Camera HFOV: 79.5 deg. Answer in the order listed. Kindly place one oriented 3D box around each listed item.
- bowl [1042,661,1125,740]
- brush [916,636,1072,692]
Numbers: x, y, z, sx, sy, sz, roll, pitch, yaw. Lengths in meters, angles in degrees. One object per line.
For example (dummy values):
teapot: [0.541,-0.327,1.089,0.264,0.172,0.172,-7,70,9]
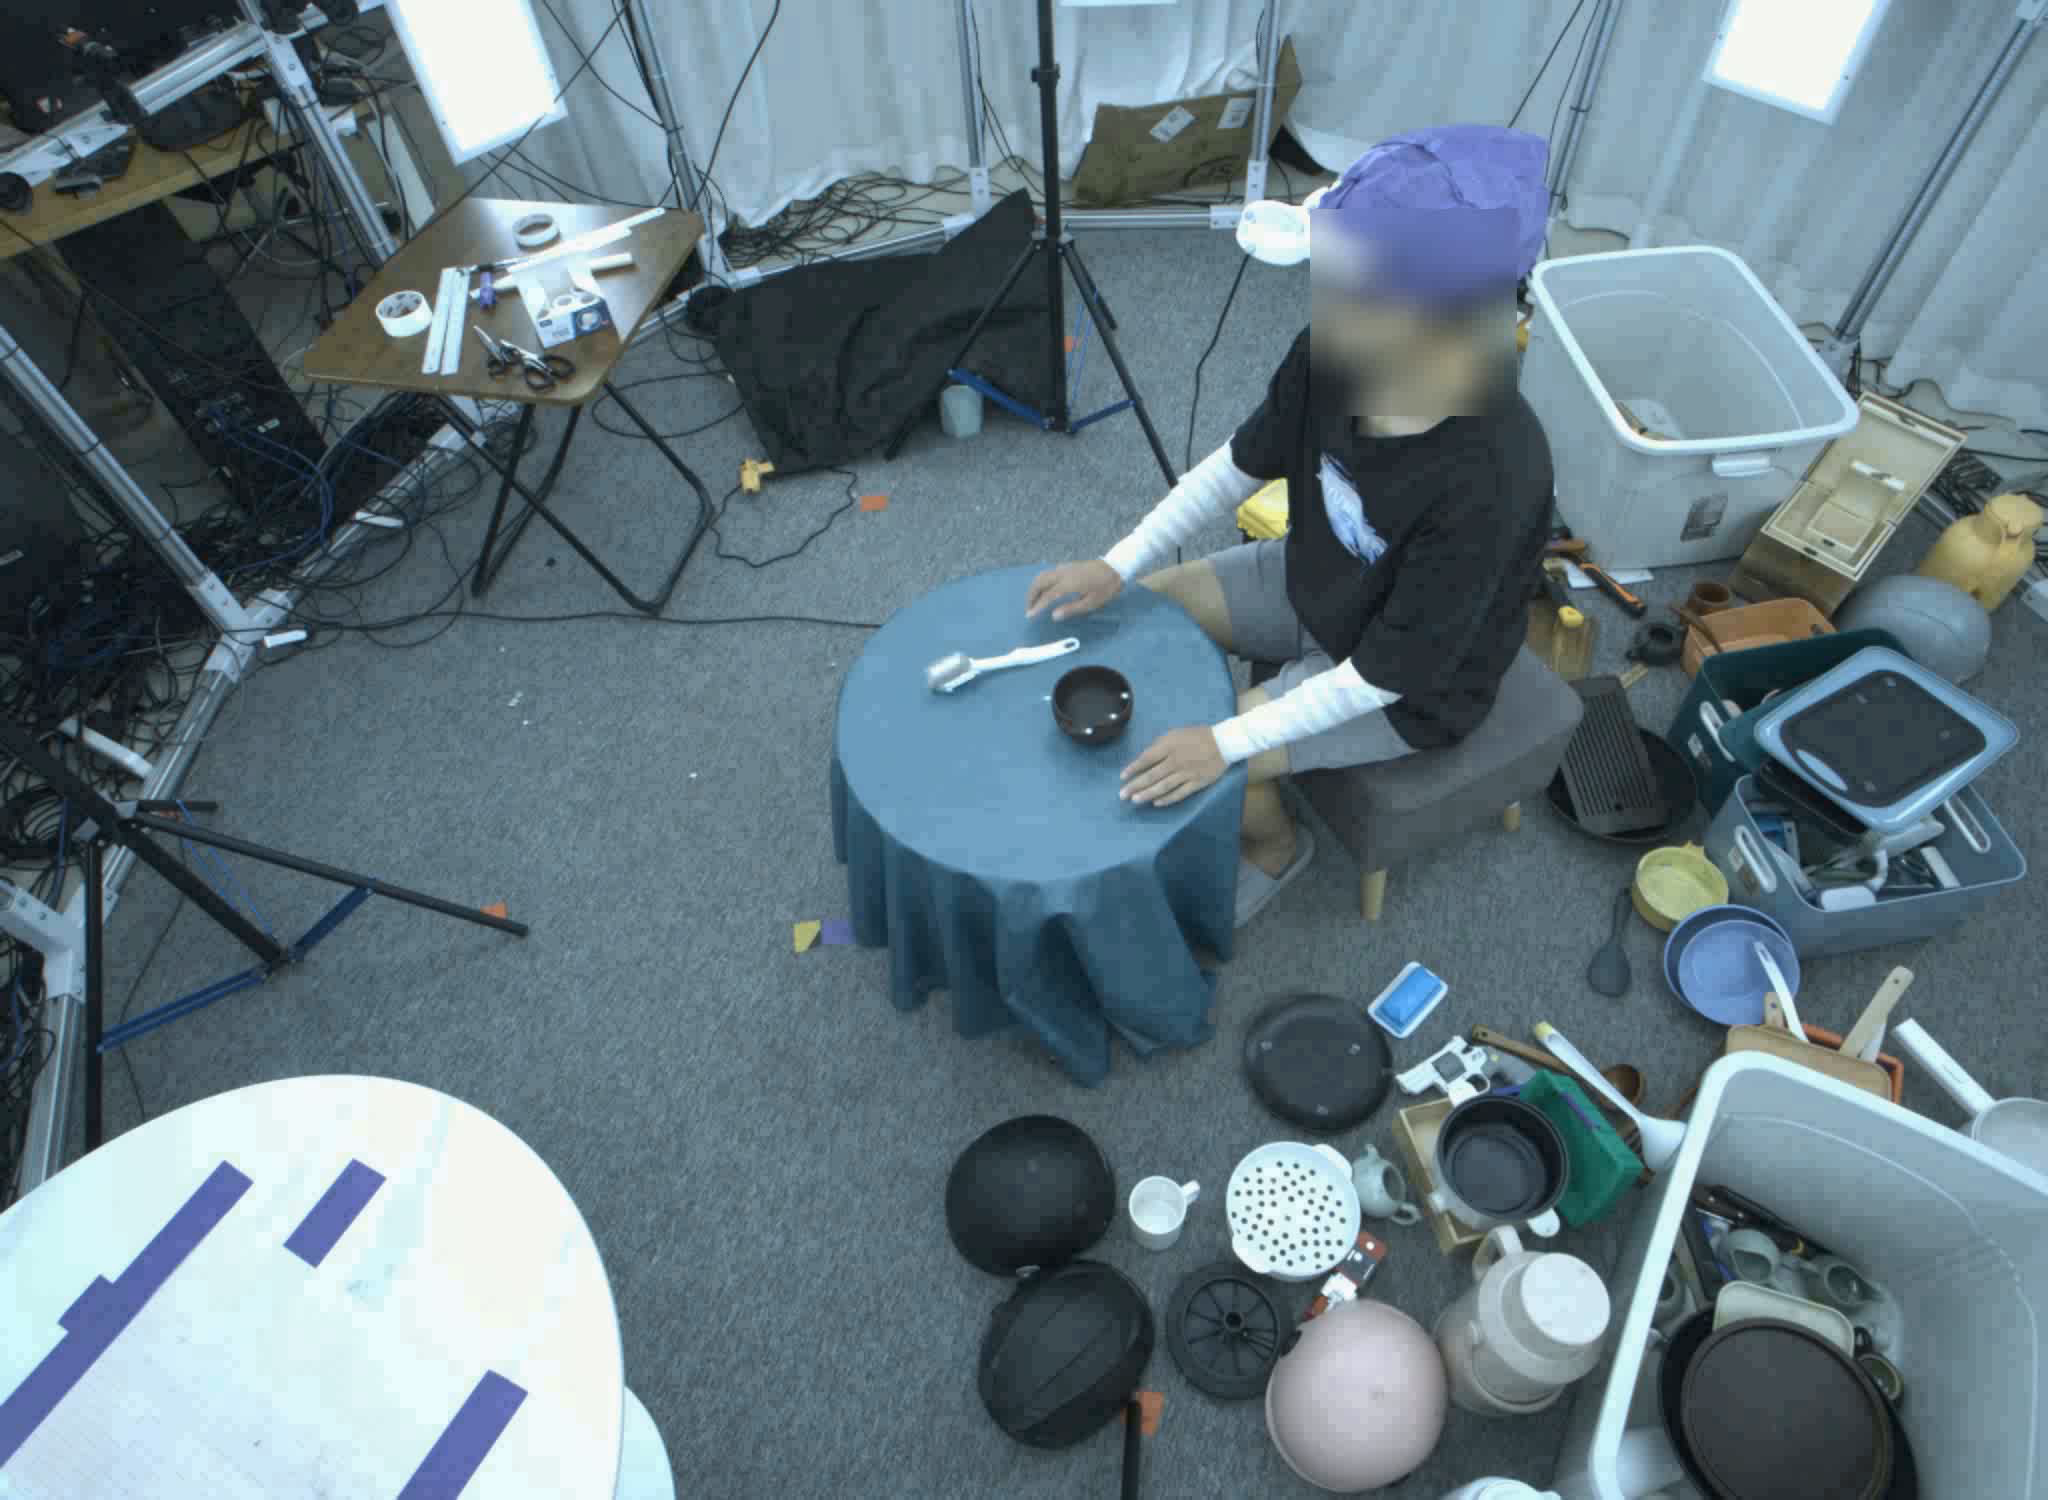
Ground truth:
bowl: [0.086,-0.063,1.775,0.118,0.070,0.117,0,53,1]
brush: [-0.043,-0.143,1.851,0.245,0.051,0.034,-17,57,-9]
